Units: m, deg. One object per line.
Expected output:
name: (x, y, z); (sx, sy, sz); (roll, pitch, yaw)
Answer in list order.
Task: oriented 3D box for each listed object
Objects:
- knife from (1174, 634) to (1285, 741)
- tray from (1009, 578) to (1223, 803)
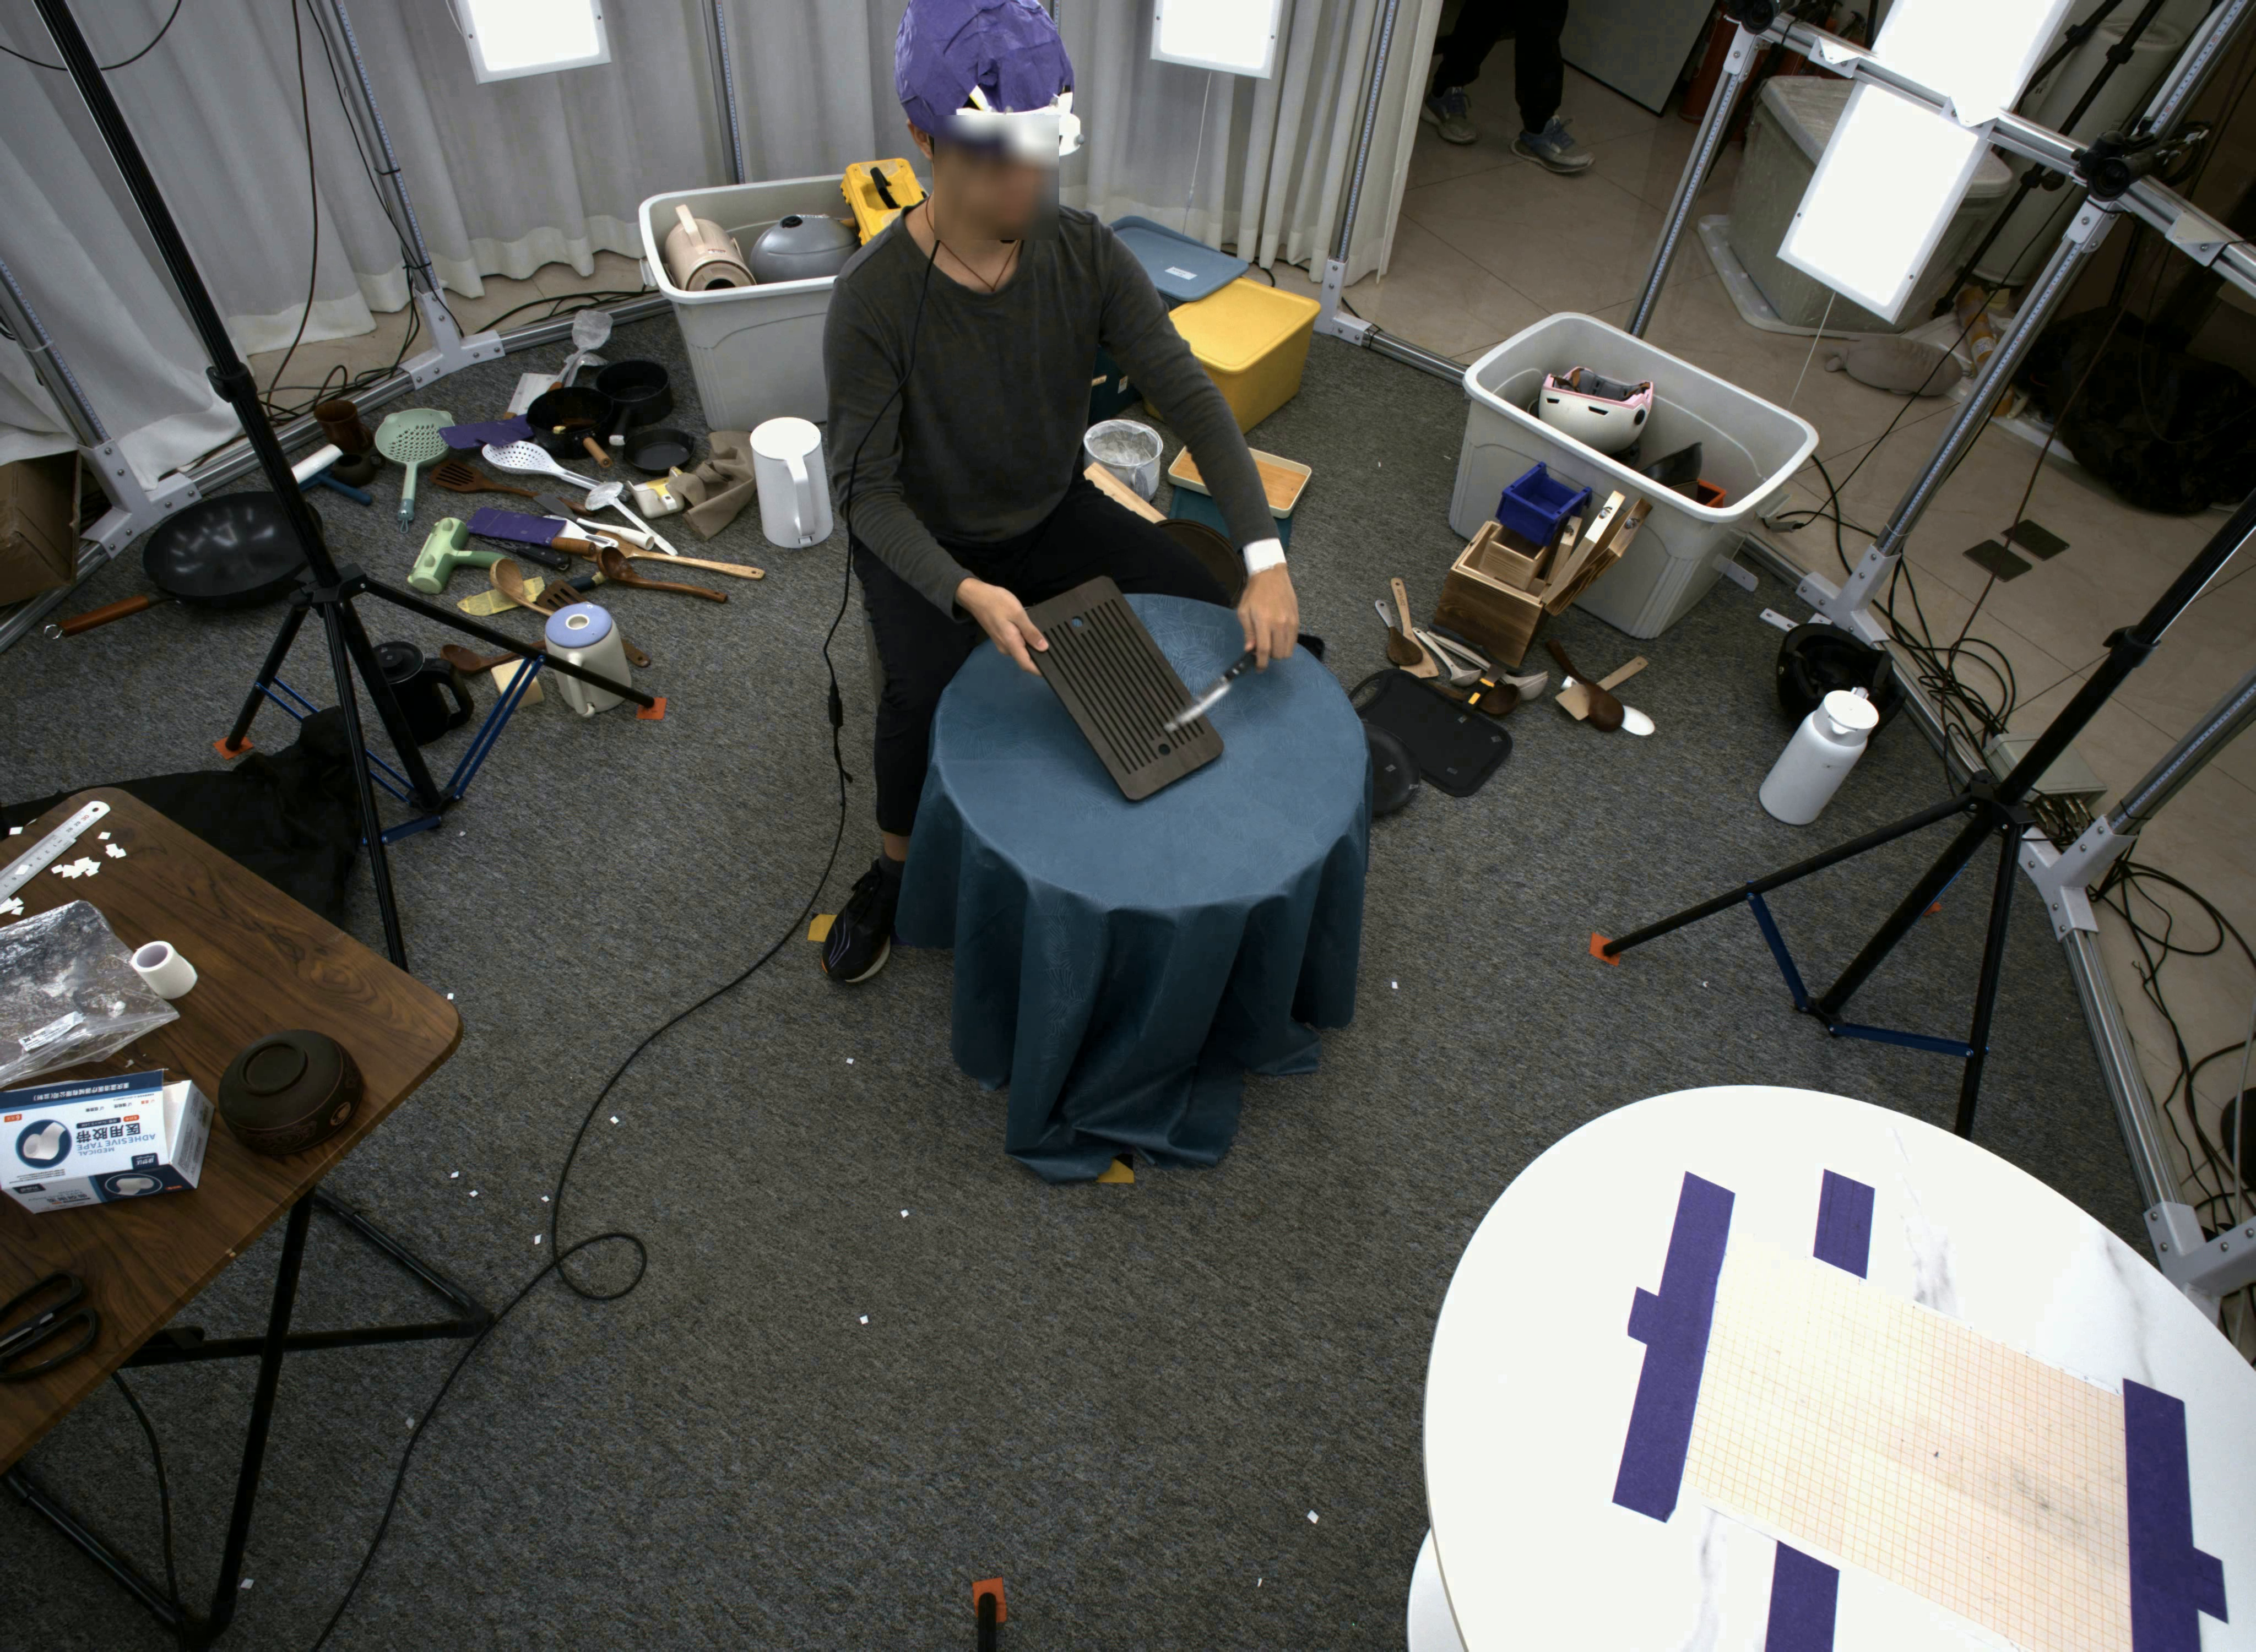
knife: (0.139, -0.195, 1.781); (0.240, 0.016, 0.024); (-44, 103, -24)
tray: (-0.016, -0.188, 1.750); (0.171, 0.018, 0.308); (-29, 78, -25)
